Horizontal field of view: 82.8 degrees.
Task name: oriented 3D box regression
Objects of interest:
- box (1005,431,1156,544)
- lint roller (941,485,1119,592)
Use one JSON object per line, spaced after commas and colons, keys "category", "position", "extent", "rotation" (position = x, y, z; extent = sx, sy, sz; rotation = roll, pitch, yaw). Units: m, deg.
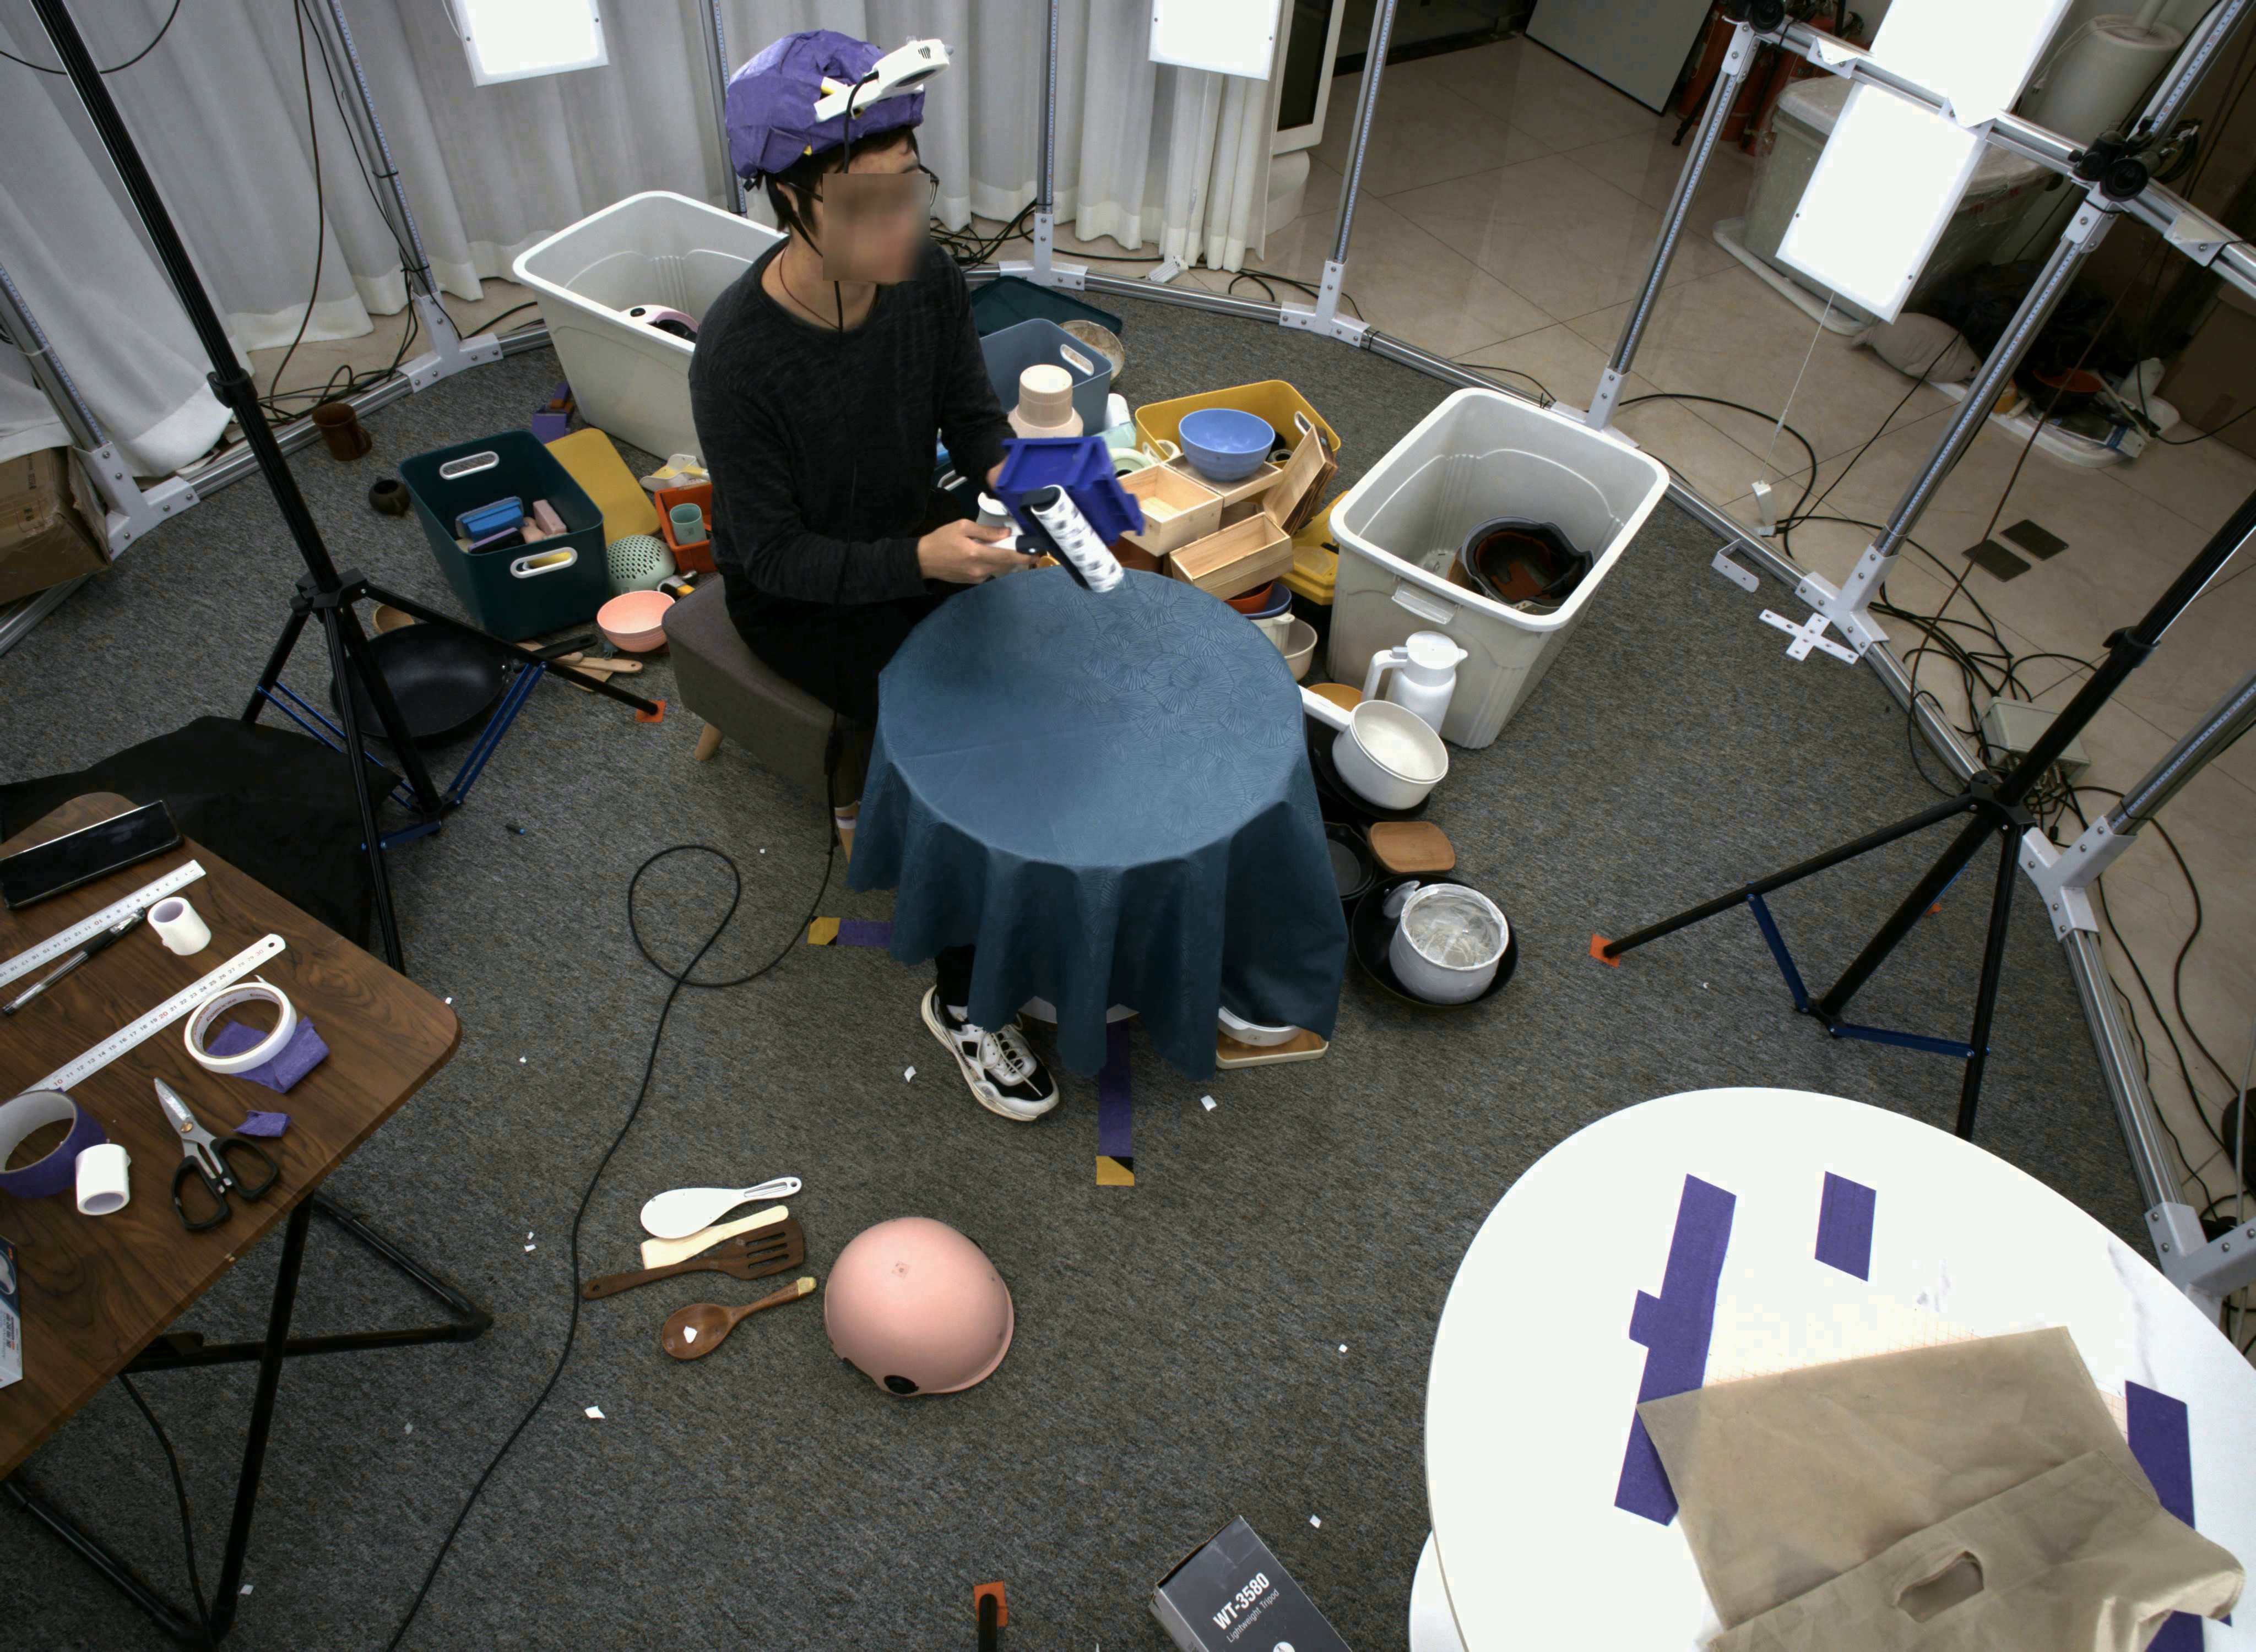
{"category": "box", "position": [-0.059, -0.432, 1.663], "extent": [0.180, 0.122, 0.083], "rotation": [5, 62, 29]}
{"category": "lint roller", "position": [-0.151, -0.367, 1.704], "extent": [0.248, 0.172, 0.051], "rotation": [0, 61, 34]}
